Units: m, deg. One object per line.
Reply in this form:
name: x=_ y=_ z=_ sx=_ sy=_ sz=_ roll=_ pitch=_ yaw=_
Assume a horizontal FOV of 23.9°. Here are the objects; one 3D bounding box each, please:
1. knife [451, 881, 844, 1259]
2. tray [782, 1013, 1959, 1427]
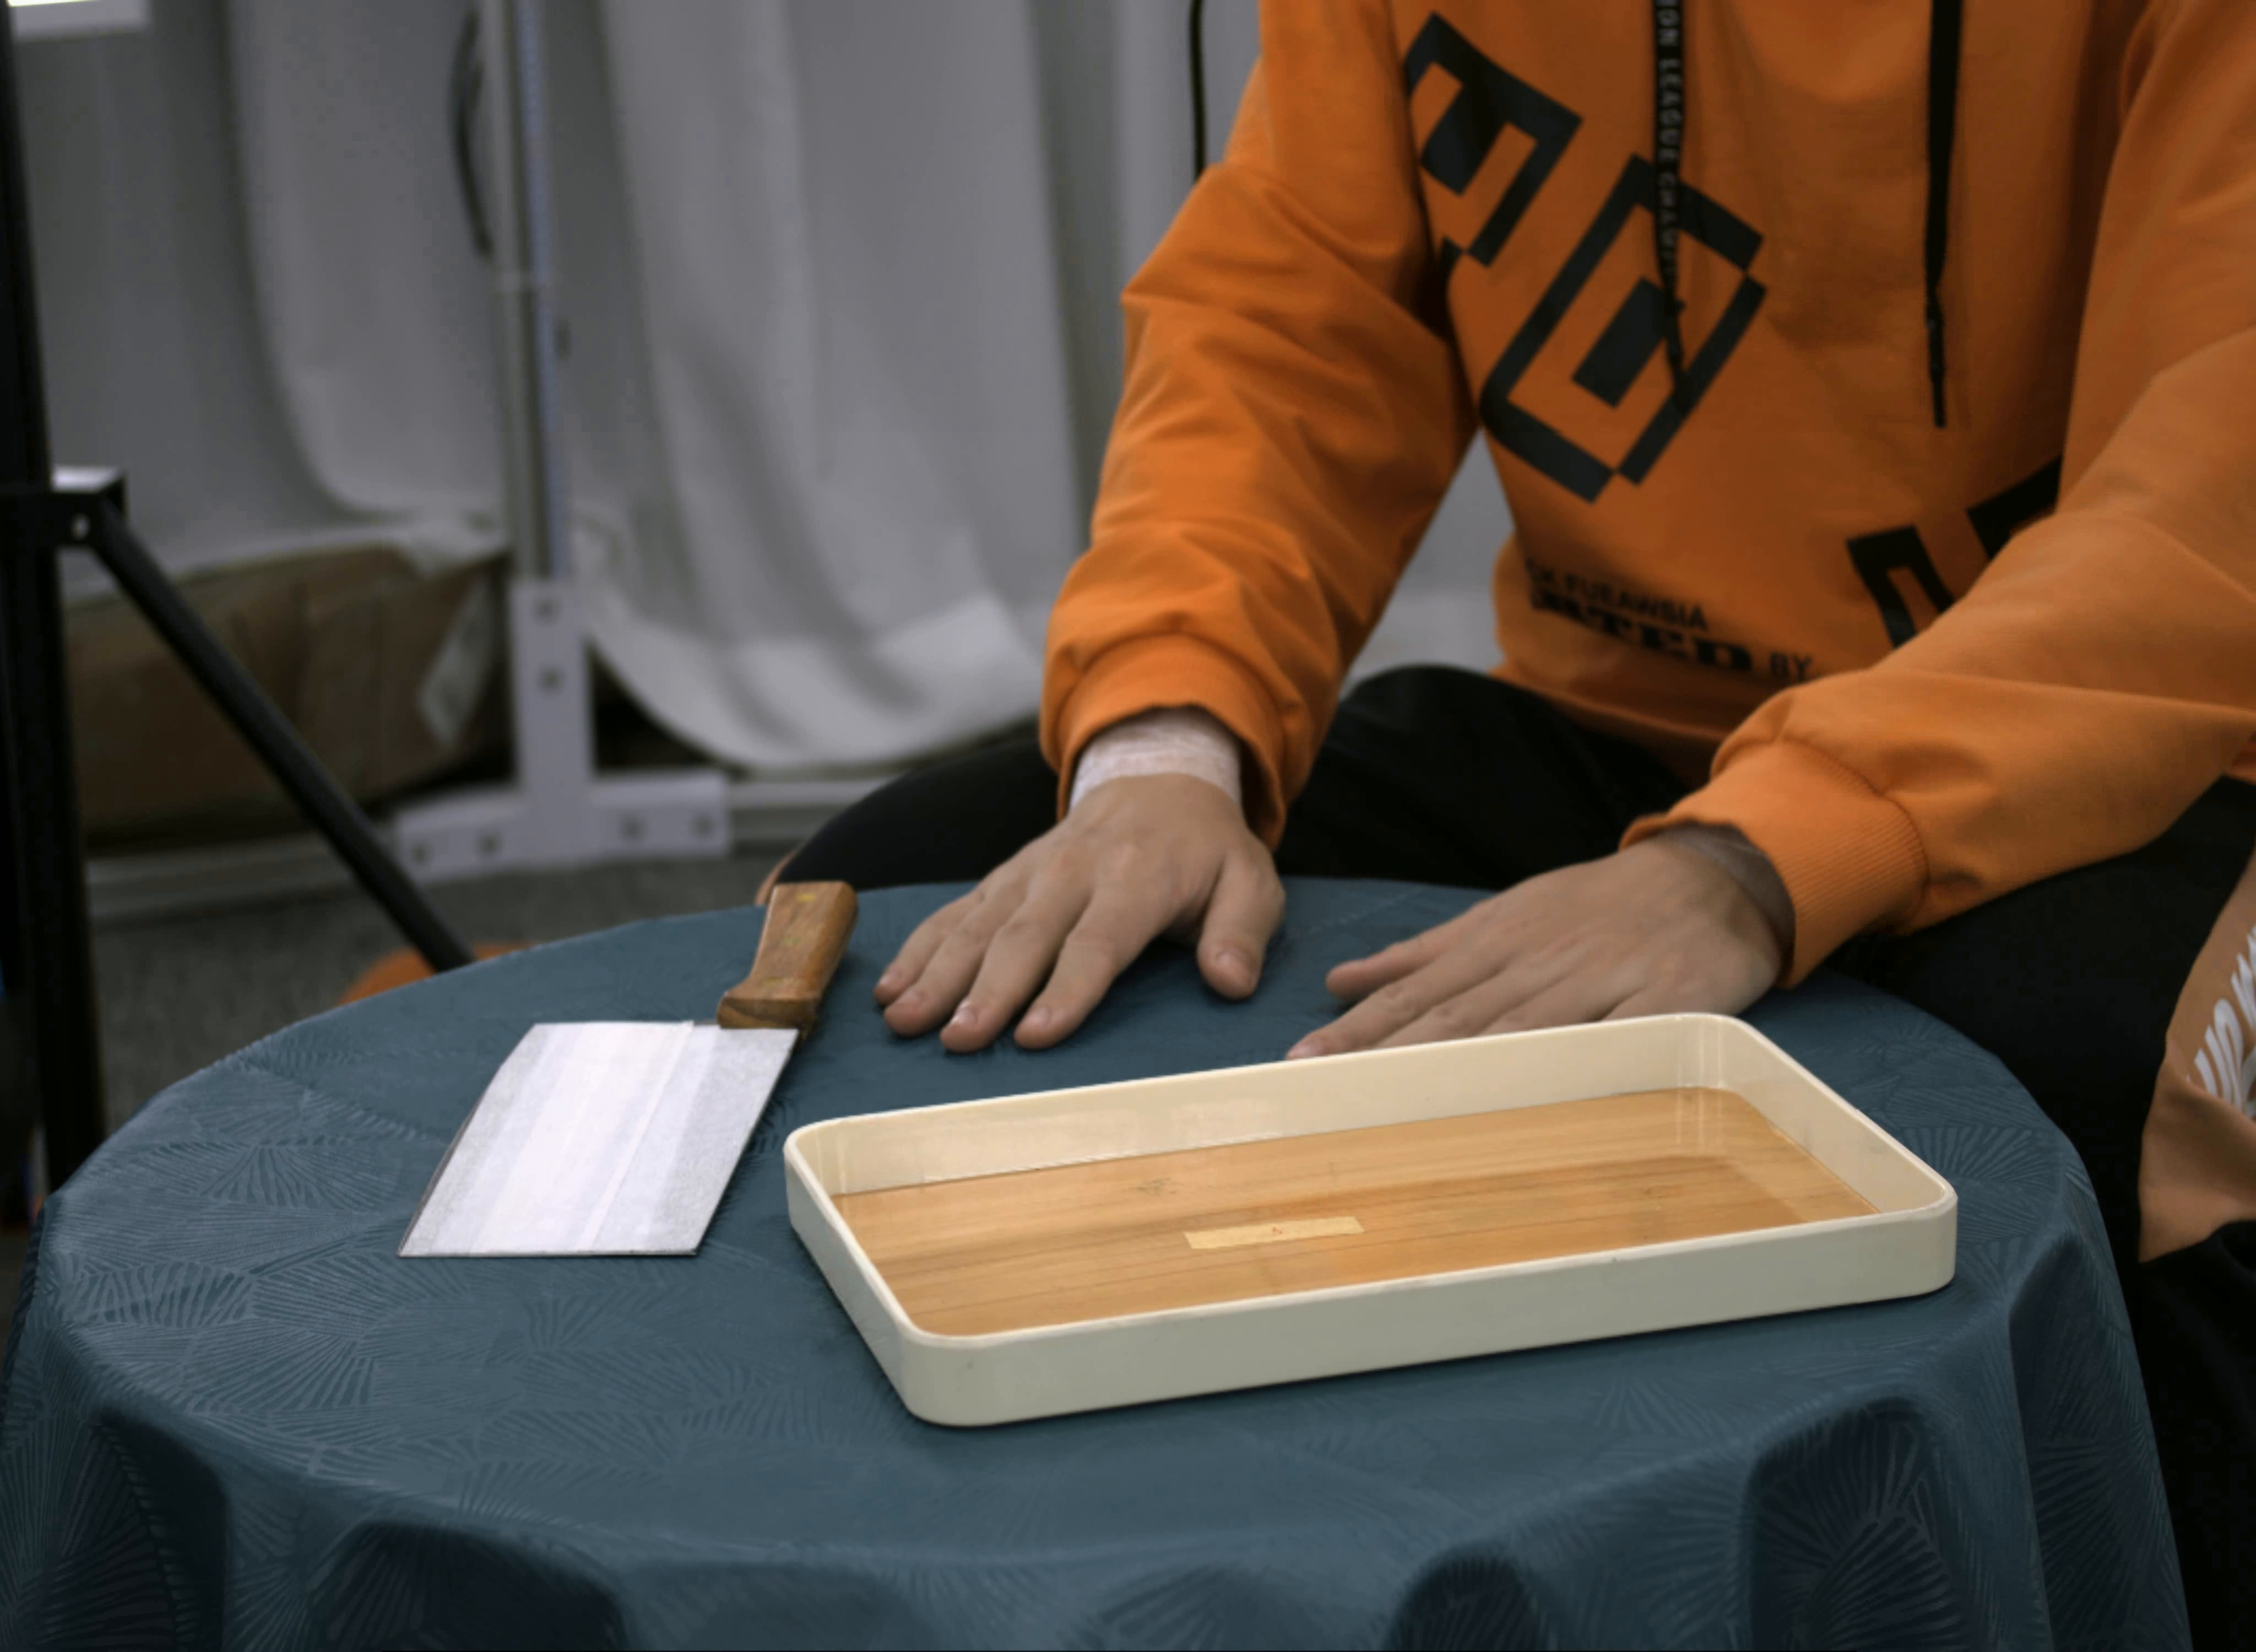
knife: x=-0.149 y=0.075 z=1.673 sx=0.093 sy=0.021 sz=0.305 roll=-2 pitch=18 yaw=7
tray: x=0.065 y=0.108 z=1.496 sx=0.296 sy=0.027 sz=0.194 roll=-7 pitch=16 yaw=-12
